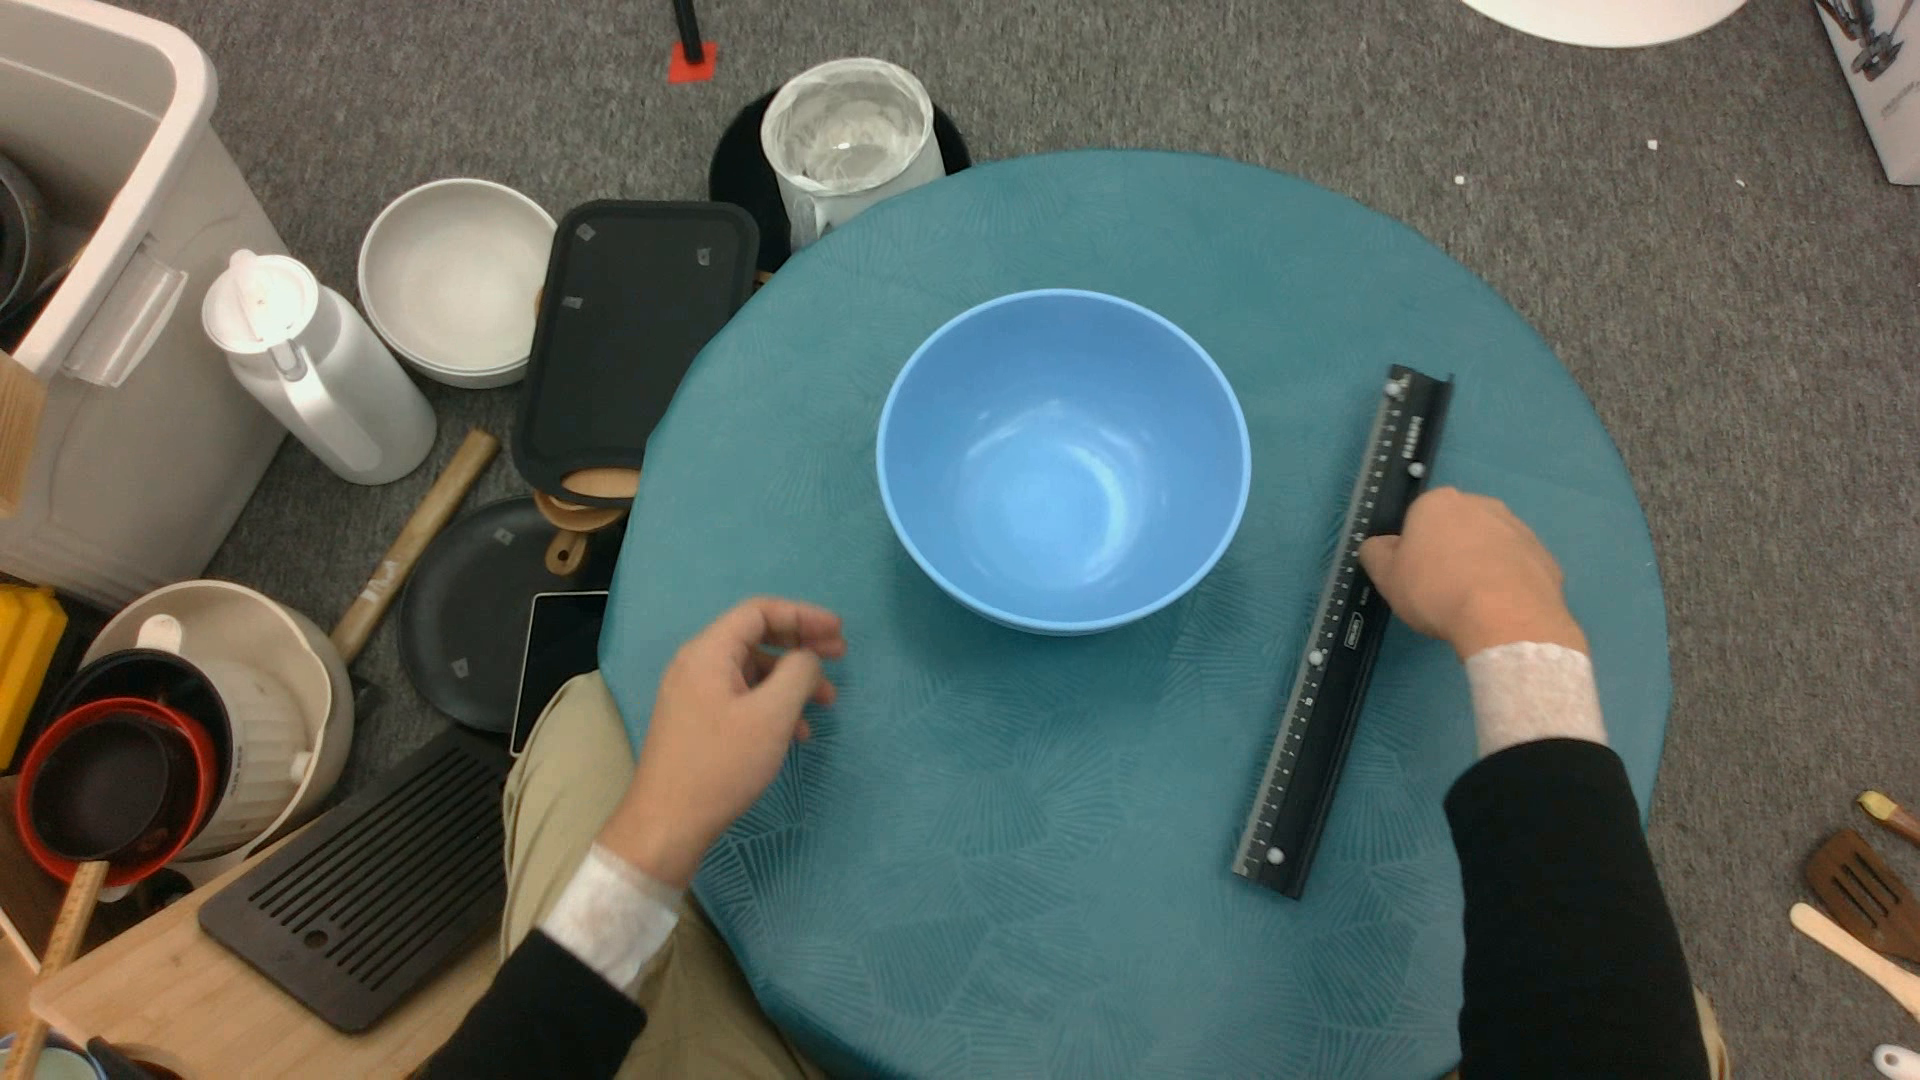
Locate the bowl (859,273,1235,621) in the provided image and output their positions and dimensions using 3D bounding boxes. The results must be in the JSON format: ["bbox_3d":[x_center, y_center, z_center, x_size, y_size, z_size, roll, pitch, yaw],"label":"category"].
[{"bbox_3d":[0.045,-0.038,0.758,0.196,0.095,0.197,1,68,-1],"label":"bowl"}]

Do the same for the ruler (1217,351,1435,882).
[{"bbox_3d":[0.206,0.032,0.757,0.039,0.017,0.313,22,73,1],"label":"ruler"}]
